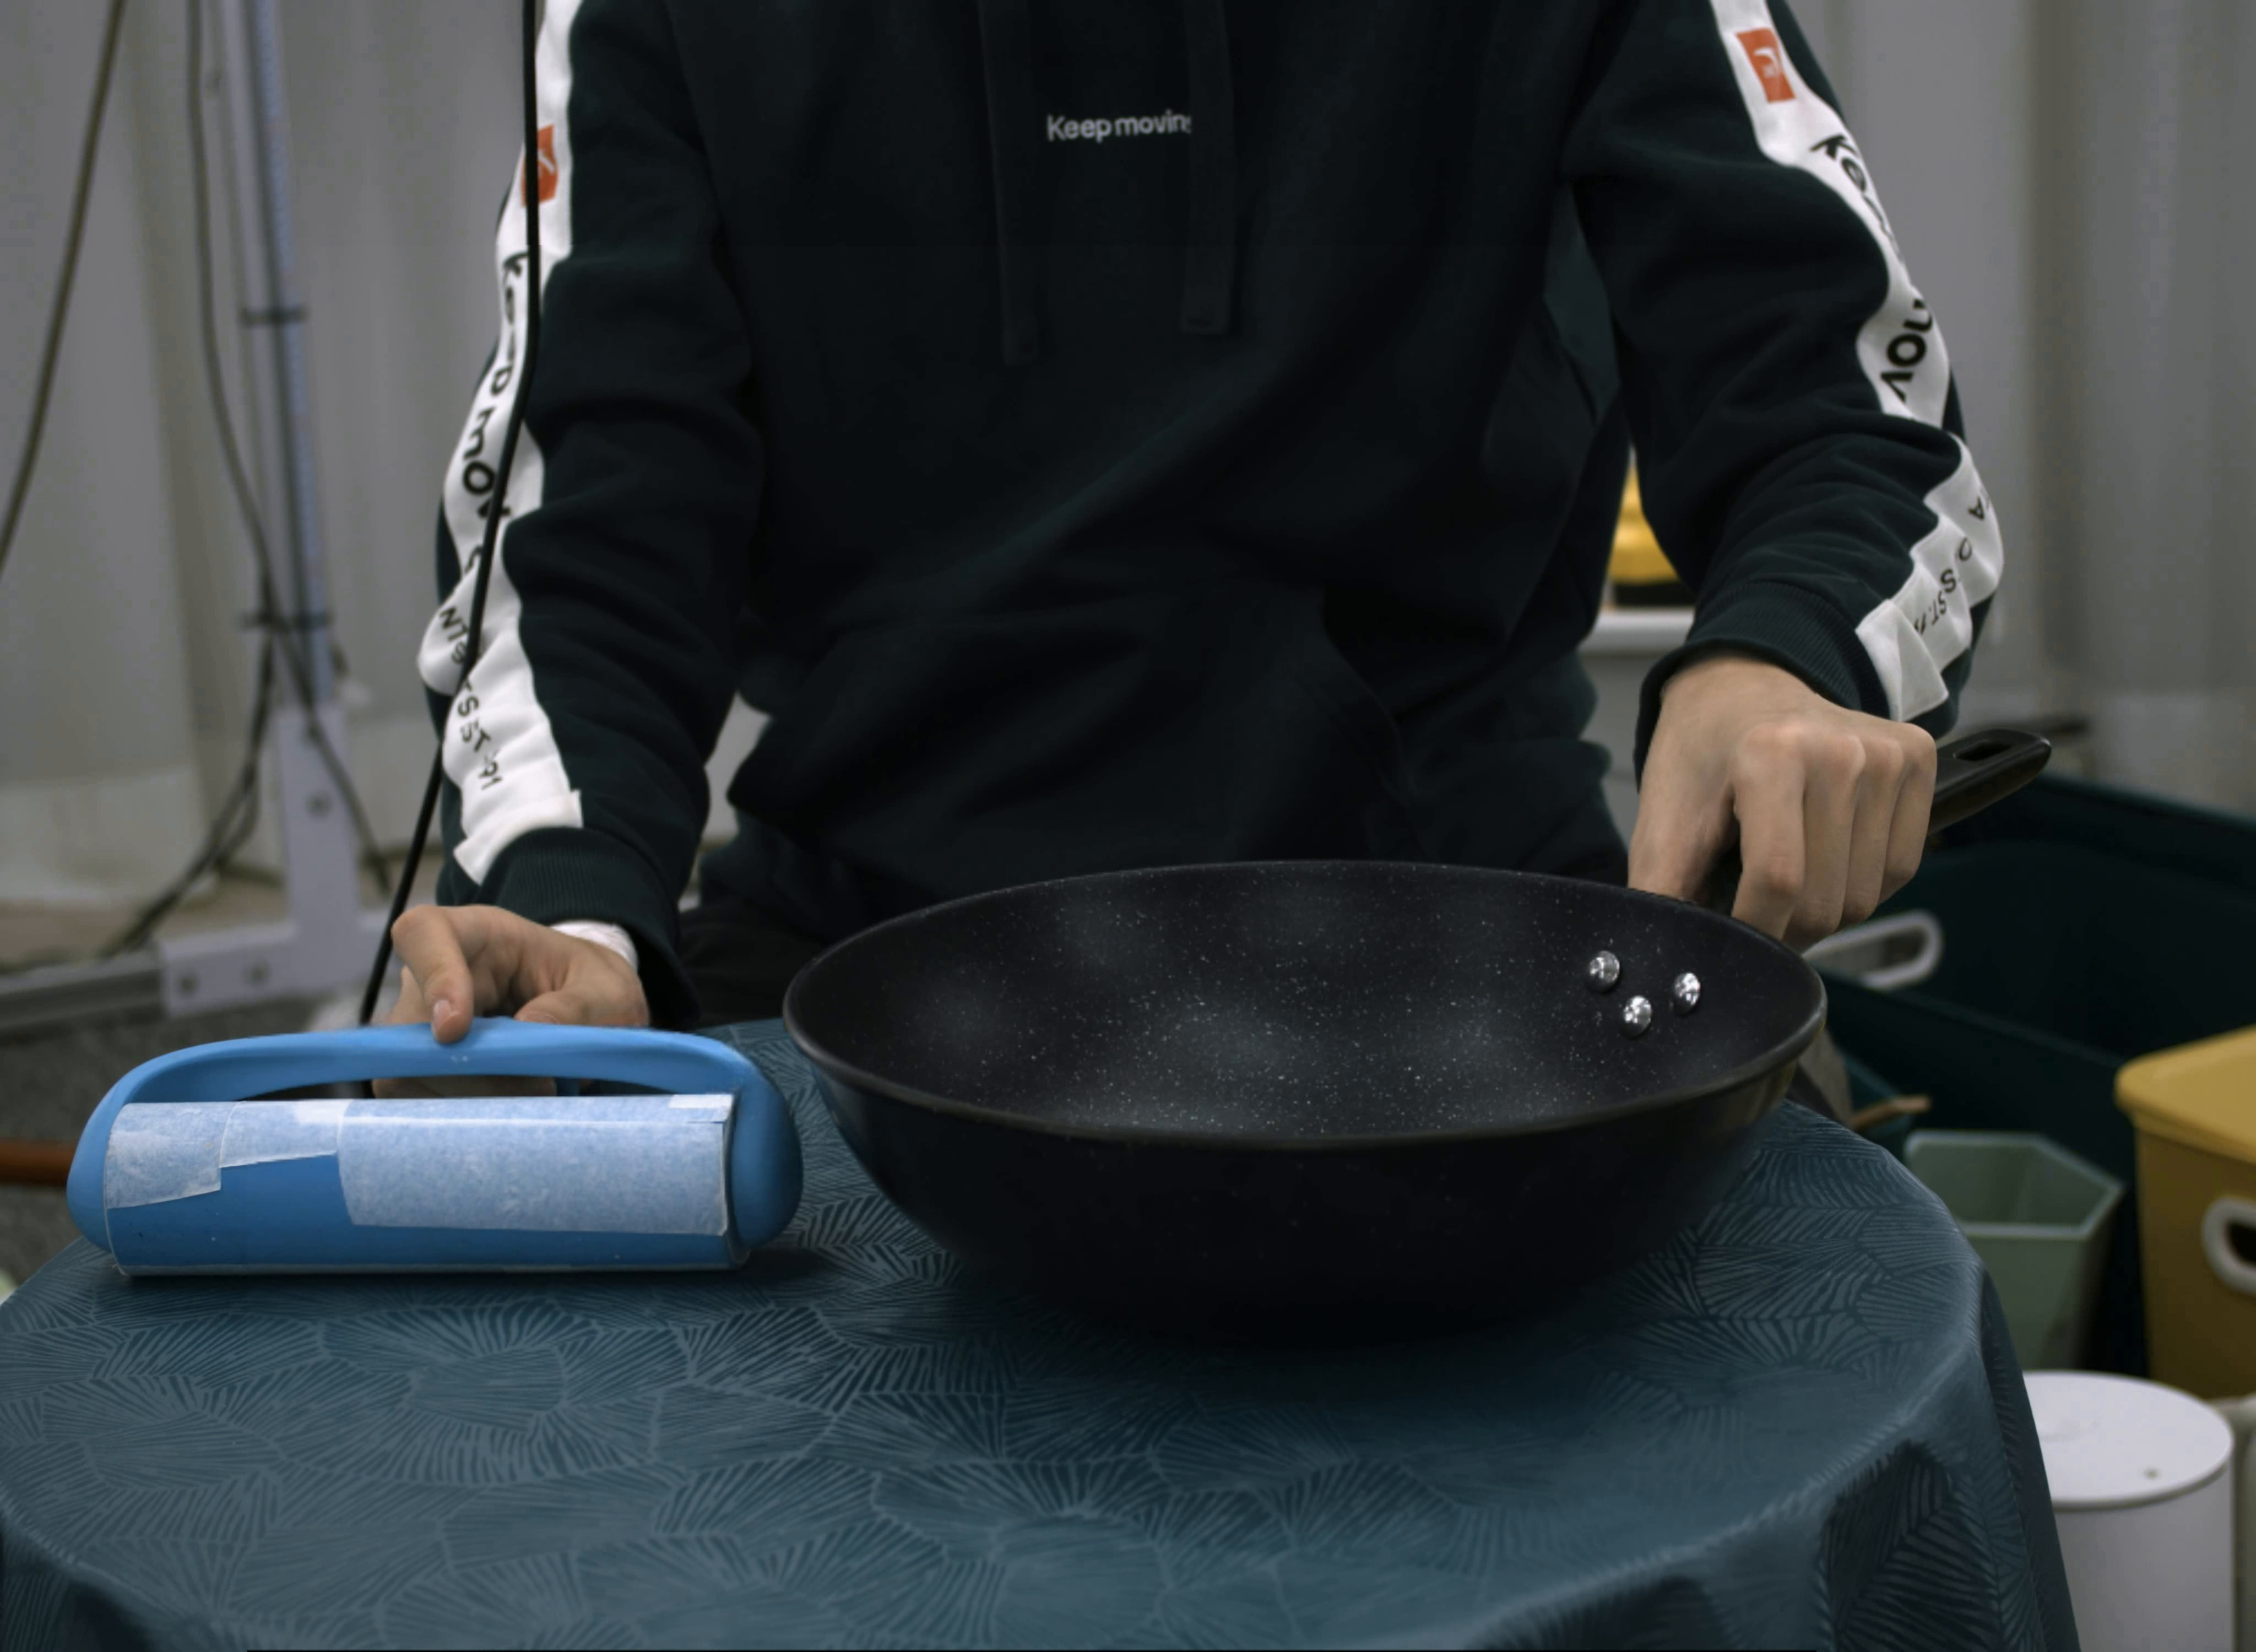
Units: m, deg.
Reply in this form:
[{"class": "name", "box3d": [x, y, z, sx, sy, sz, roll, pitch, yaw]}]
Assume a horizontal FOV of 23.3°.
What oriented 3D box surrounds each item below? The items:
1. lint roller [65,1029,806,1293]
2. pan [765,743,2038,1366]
[{"class": "lint roller", "box3d": [-0.208, 0.095, 1.724, 0.228, 0.067, 0.181, -4, 16, 4]}, {"class": "pan", "box3d": [0.111, 0.066, 1.671, 0.475, 0.111, 0.312, -12, 19, -39]}]
